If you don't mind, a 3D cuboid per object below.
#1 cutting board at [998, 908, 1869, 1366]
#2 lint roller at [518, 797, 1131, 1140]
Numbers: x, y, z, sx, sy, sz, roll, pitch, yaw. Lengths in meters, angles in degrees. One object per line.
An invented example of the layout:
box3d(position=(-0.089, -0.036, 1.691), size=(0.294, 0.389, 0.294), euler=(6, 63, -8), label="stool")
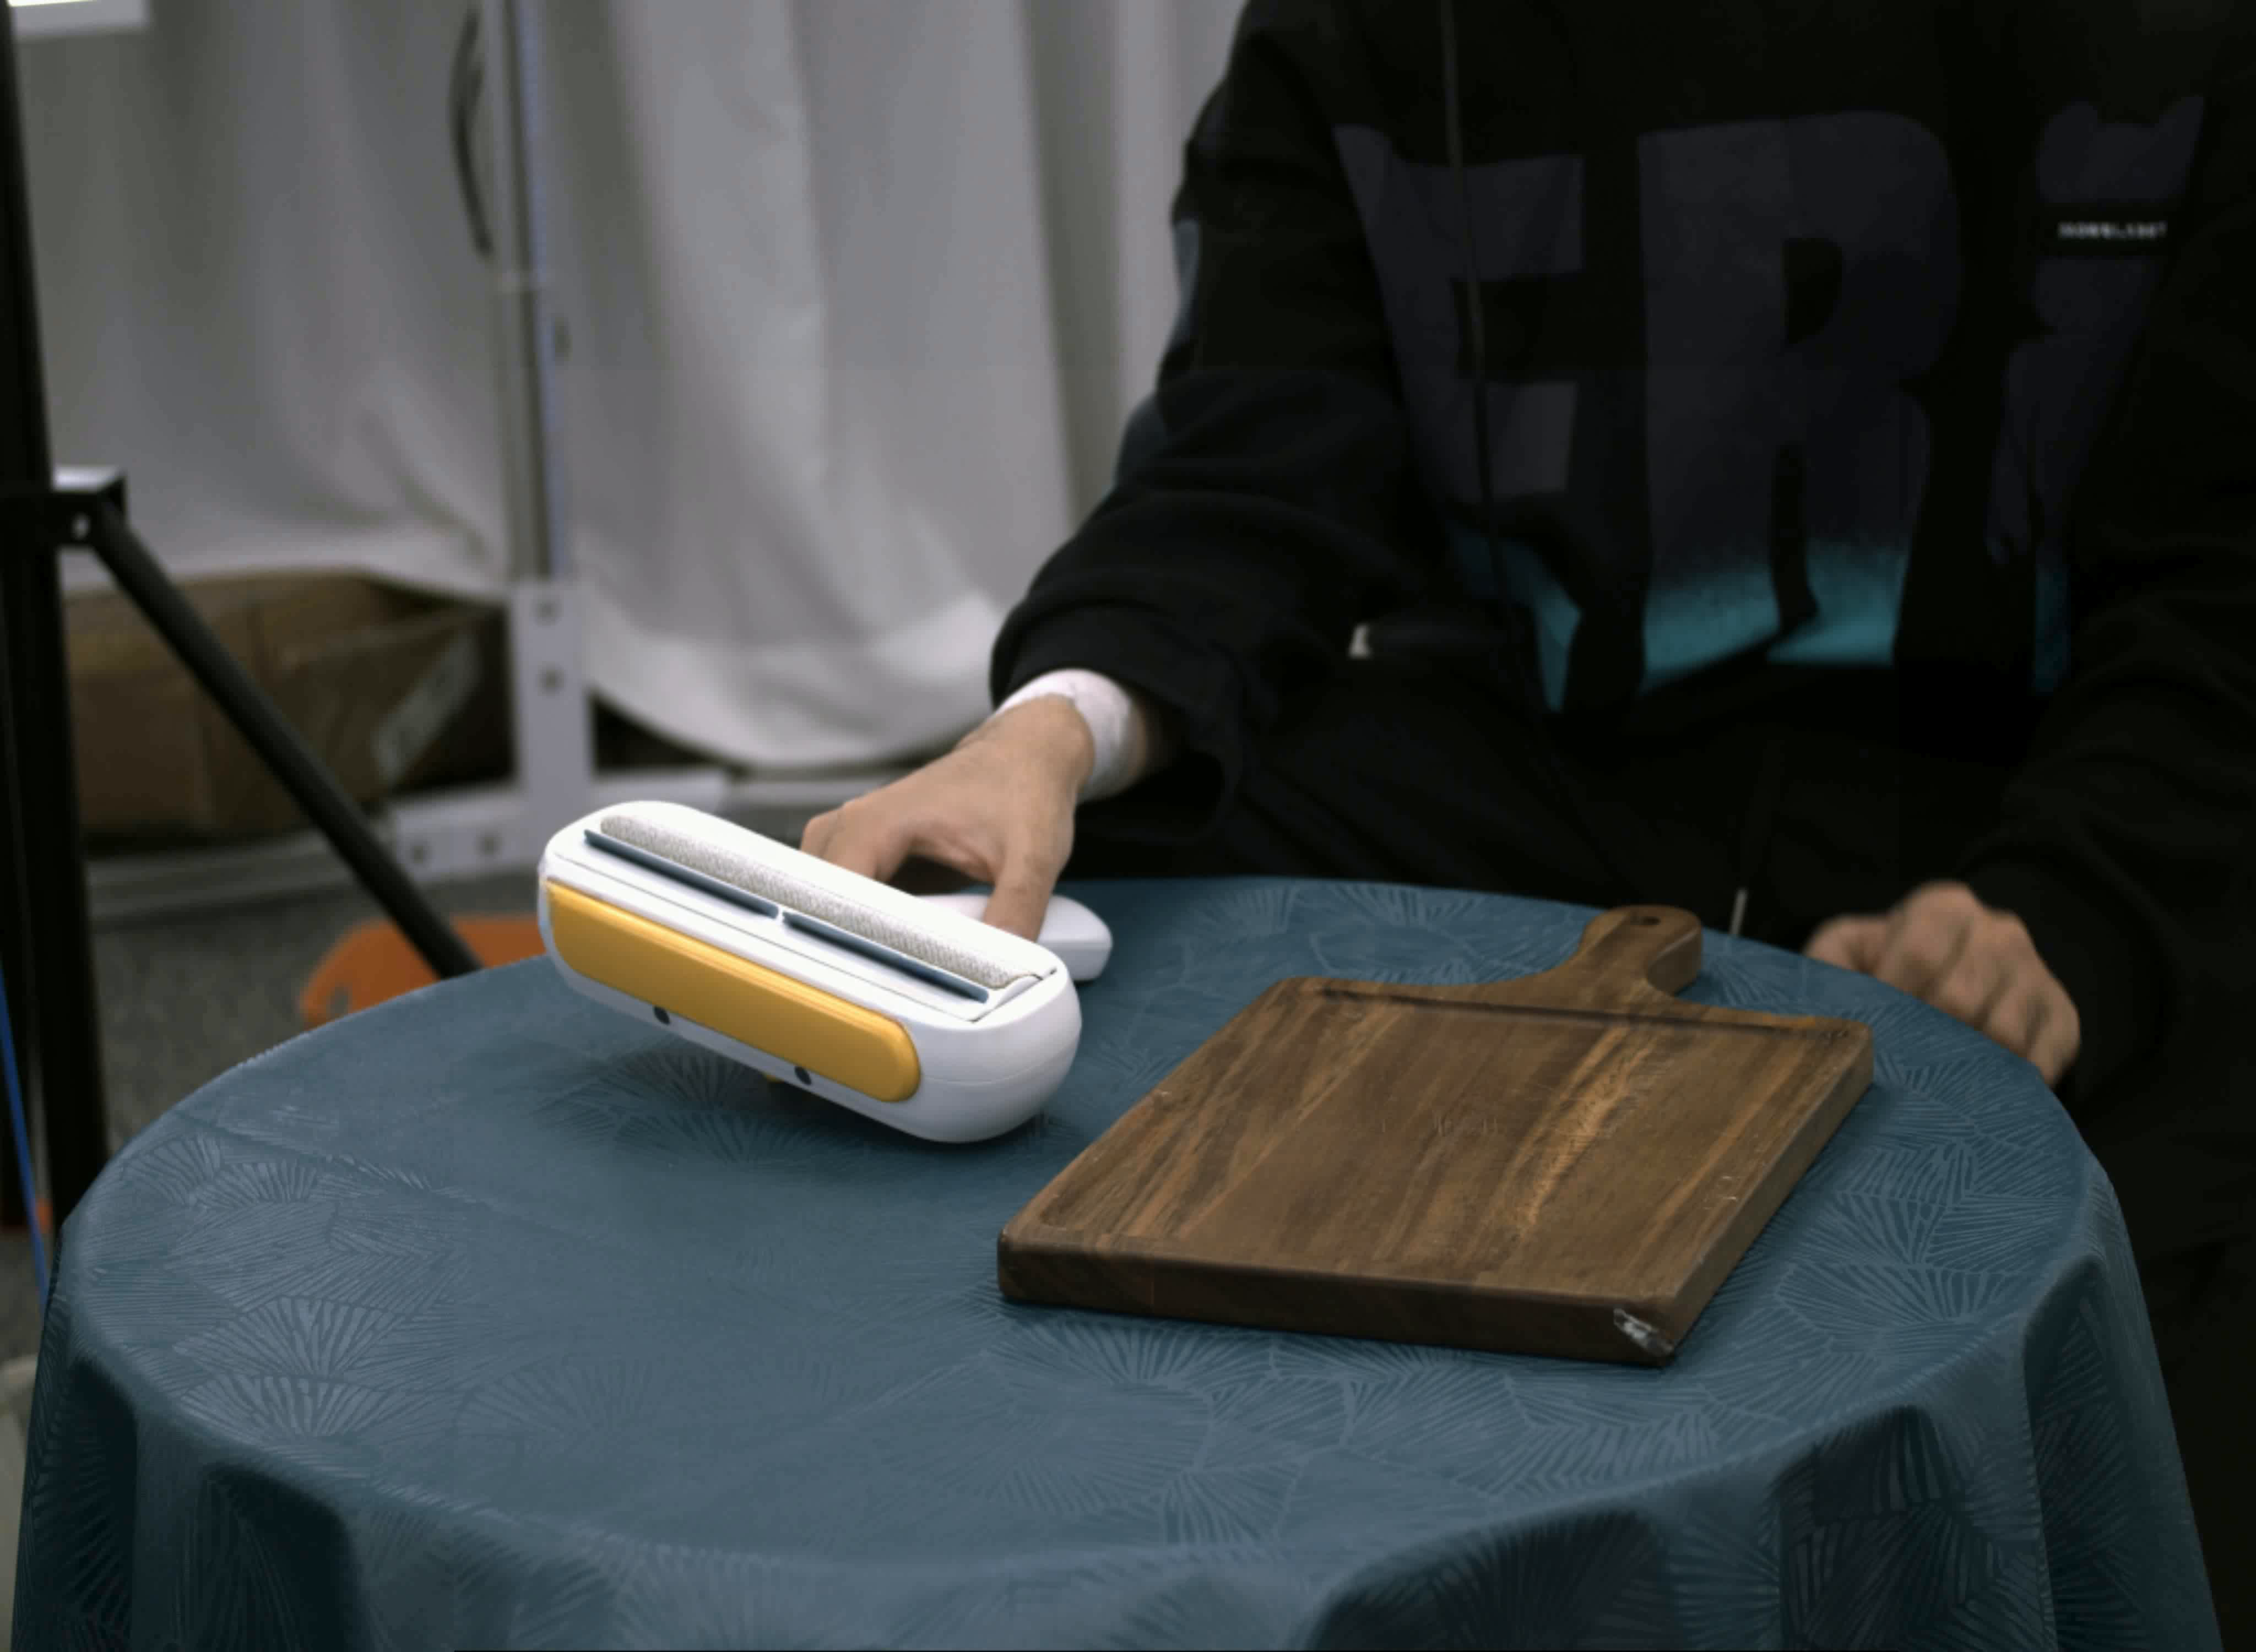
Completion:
box3d(position=(0.112, 0.084, 1.587), size=(0.203, 0.023, 0.348), euler=(3, 17, 21), label="cutting board")
box3d(position=(-0.070, 0.037, 1.697), size=(0.197, 0.074, 0.188), euler=(17, 23, 38), label="lint roller")
